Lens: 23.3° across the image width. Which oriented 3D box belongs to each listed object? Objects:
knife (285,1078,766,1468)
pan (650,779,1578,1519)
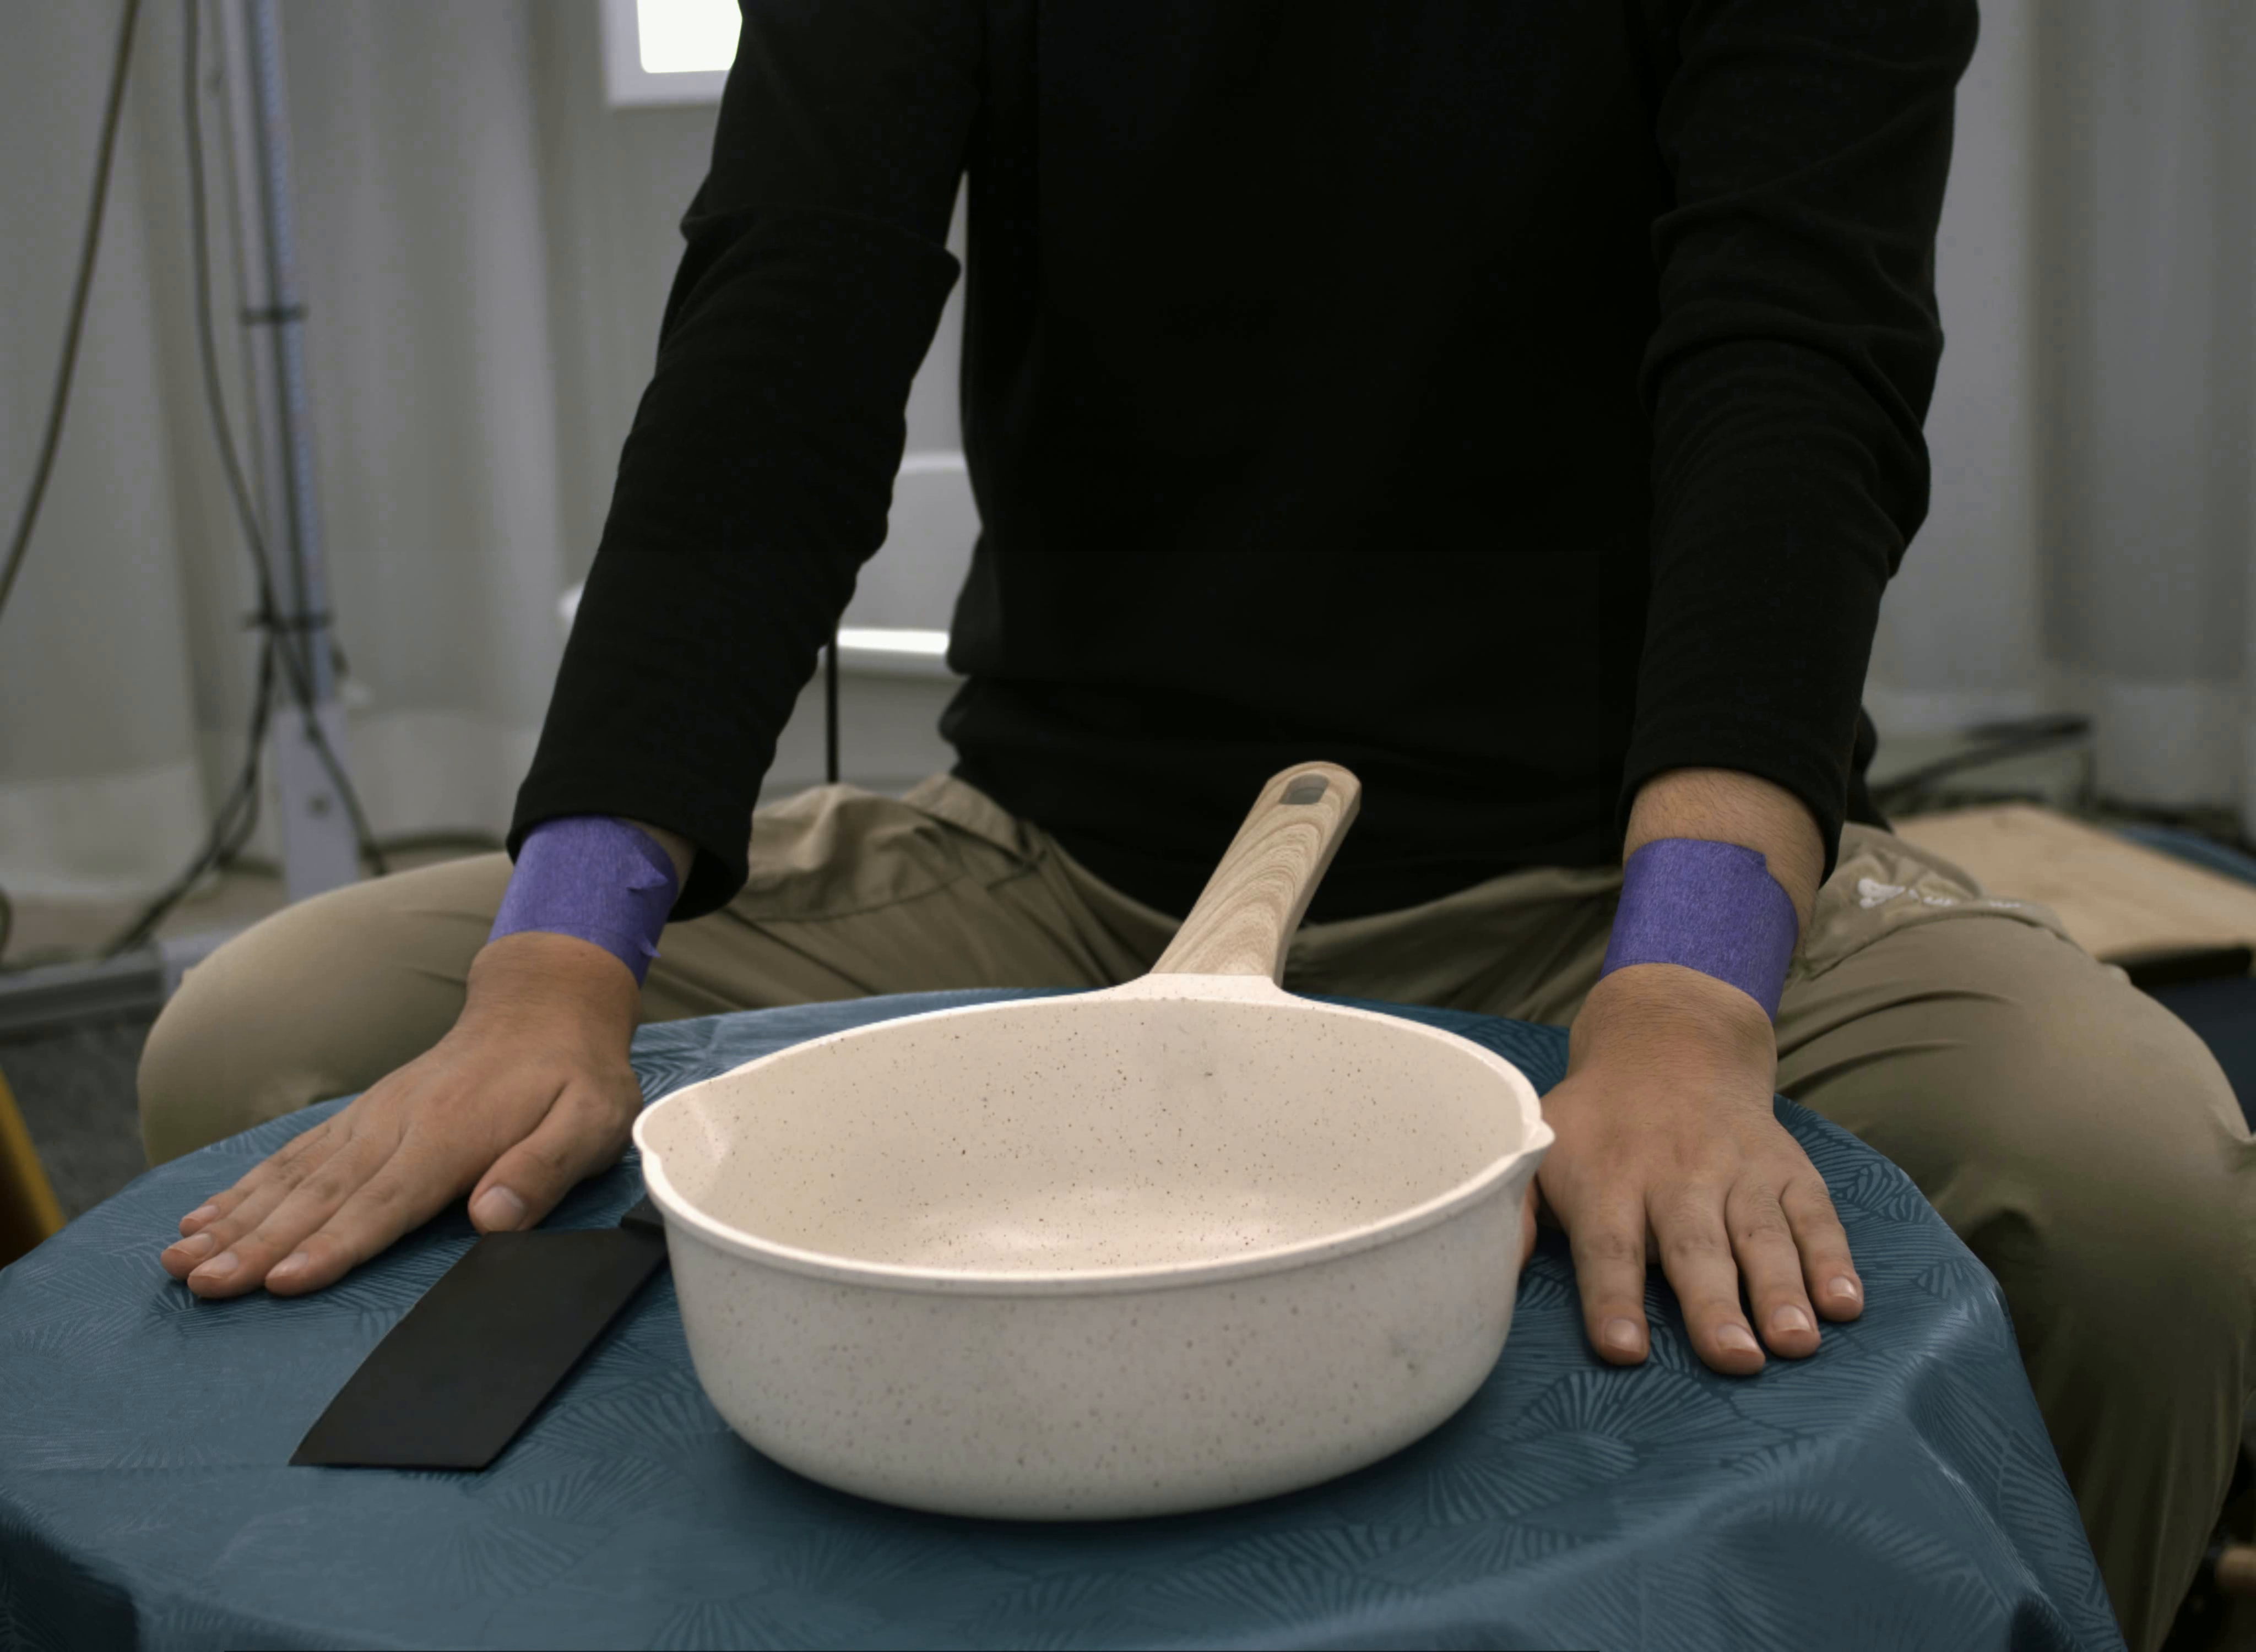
[{"bbox_3d":[-0.168,0.134,1.650,0.081,0.021,0.303,1,17,19],"label":"knife"},{"bbox_3d":[0.018,0.090,1.614,0.263,0.101,0.437,-1,15,14],"label":"pan"}]
